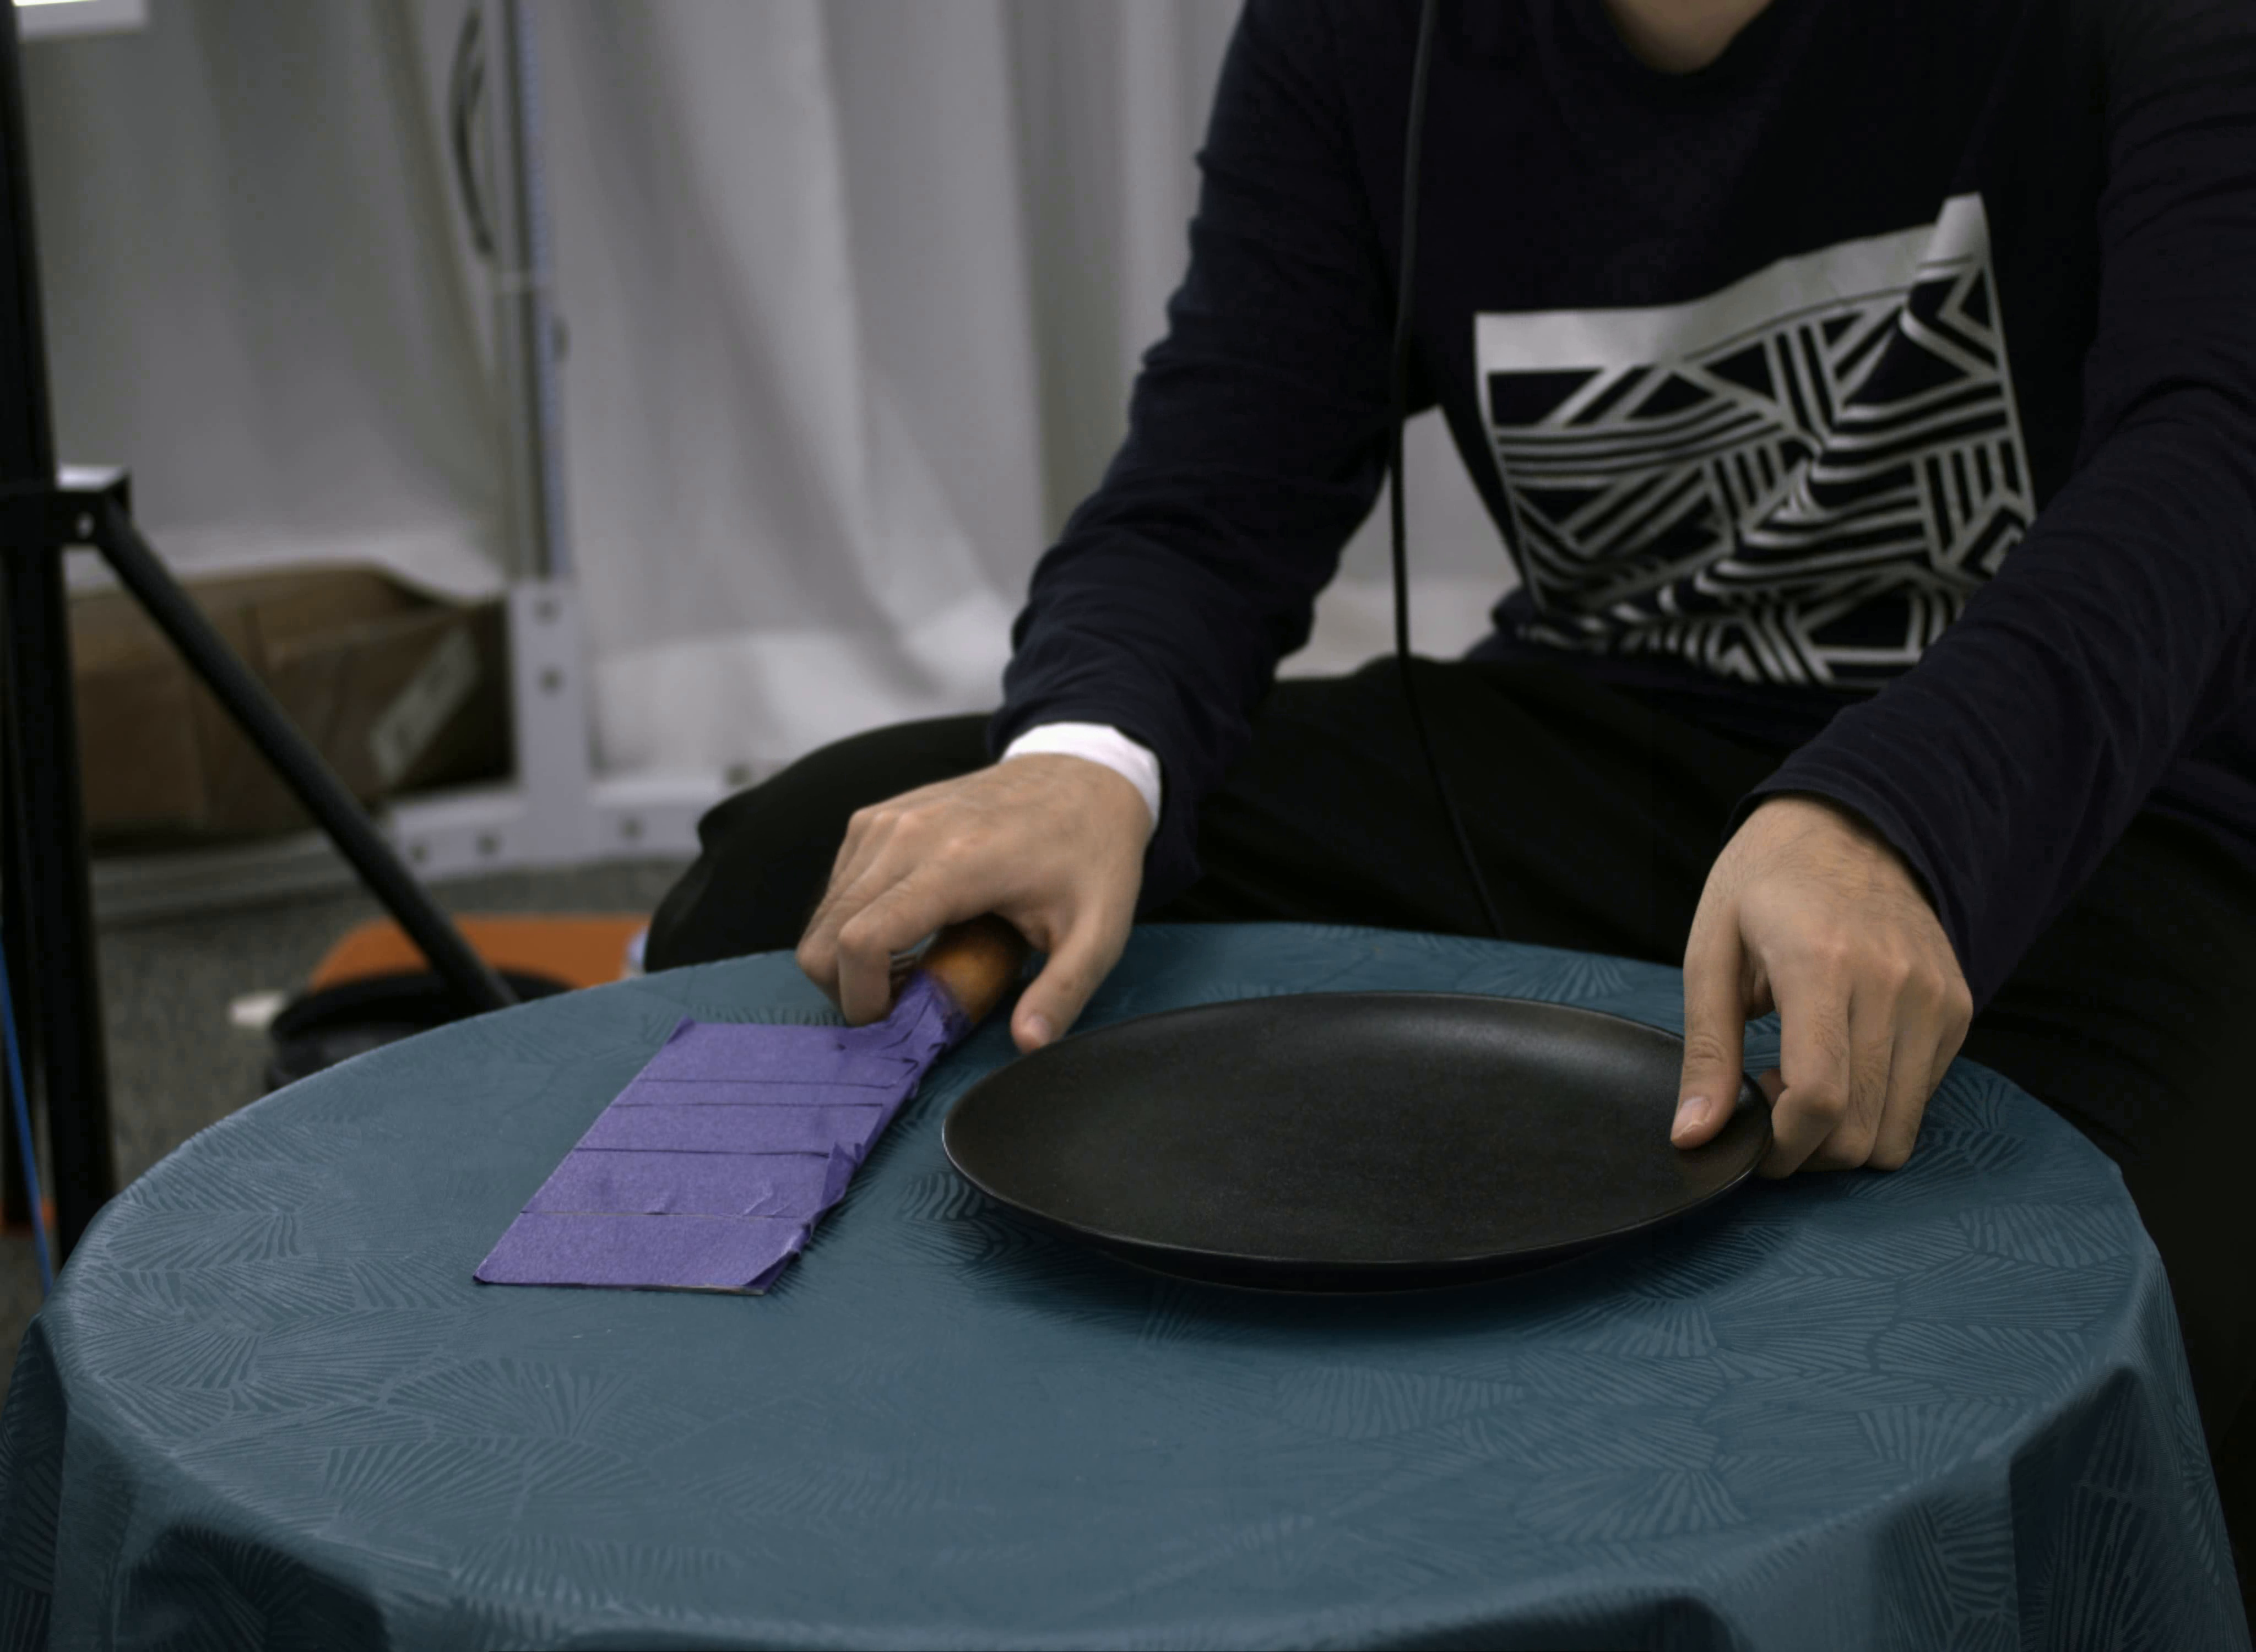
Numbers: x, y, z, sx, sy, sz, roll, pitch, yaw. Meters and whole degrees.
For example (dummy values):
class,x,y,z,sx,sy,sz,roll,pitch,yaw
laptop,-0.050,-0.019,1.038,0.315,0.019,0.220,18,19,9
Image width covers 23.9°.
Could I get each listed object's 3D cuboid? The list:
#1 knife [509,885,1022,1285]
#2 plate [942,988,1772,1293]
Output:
class,x,y,z,sx,sy,sz,roll,pitch,yaw
knife,-0.109,0.077,1.641,0.104,0.032,0.313,1,17,12
plate,0.067,0.095,1.556,0.243,0.023,0.245,-3,16,-1
